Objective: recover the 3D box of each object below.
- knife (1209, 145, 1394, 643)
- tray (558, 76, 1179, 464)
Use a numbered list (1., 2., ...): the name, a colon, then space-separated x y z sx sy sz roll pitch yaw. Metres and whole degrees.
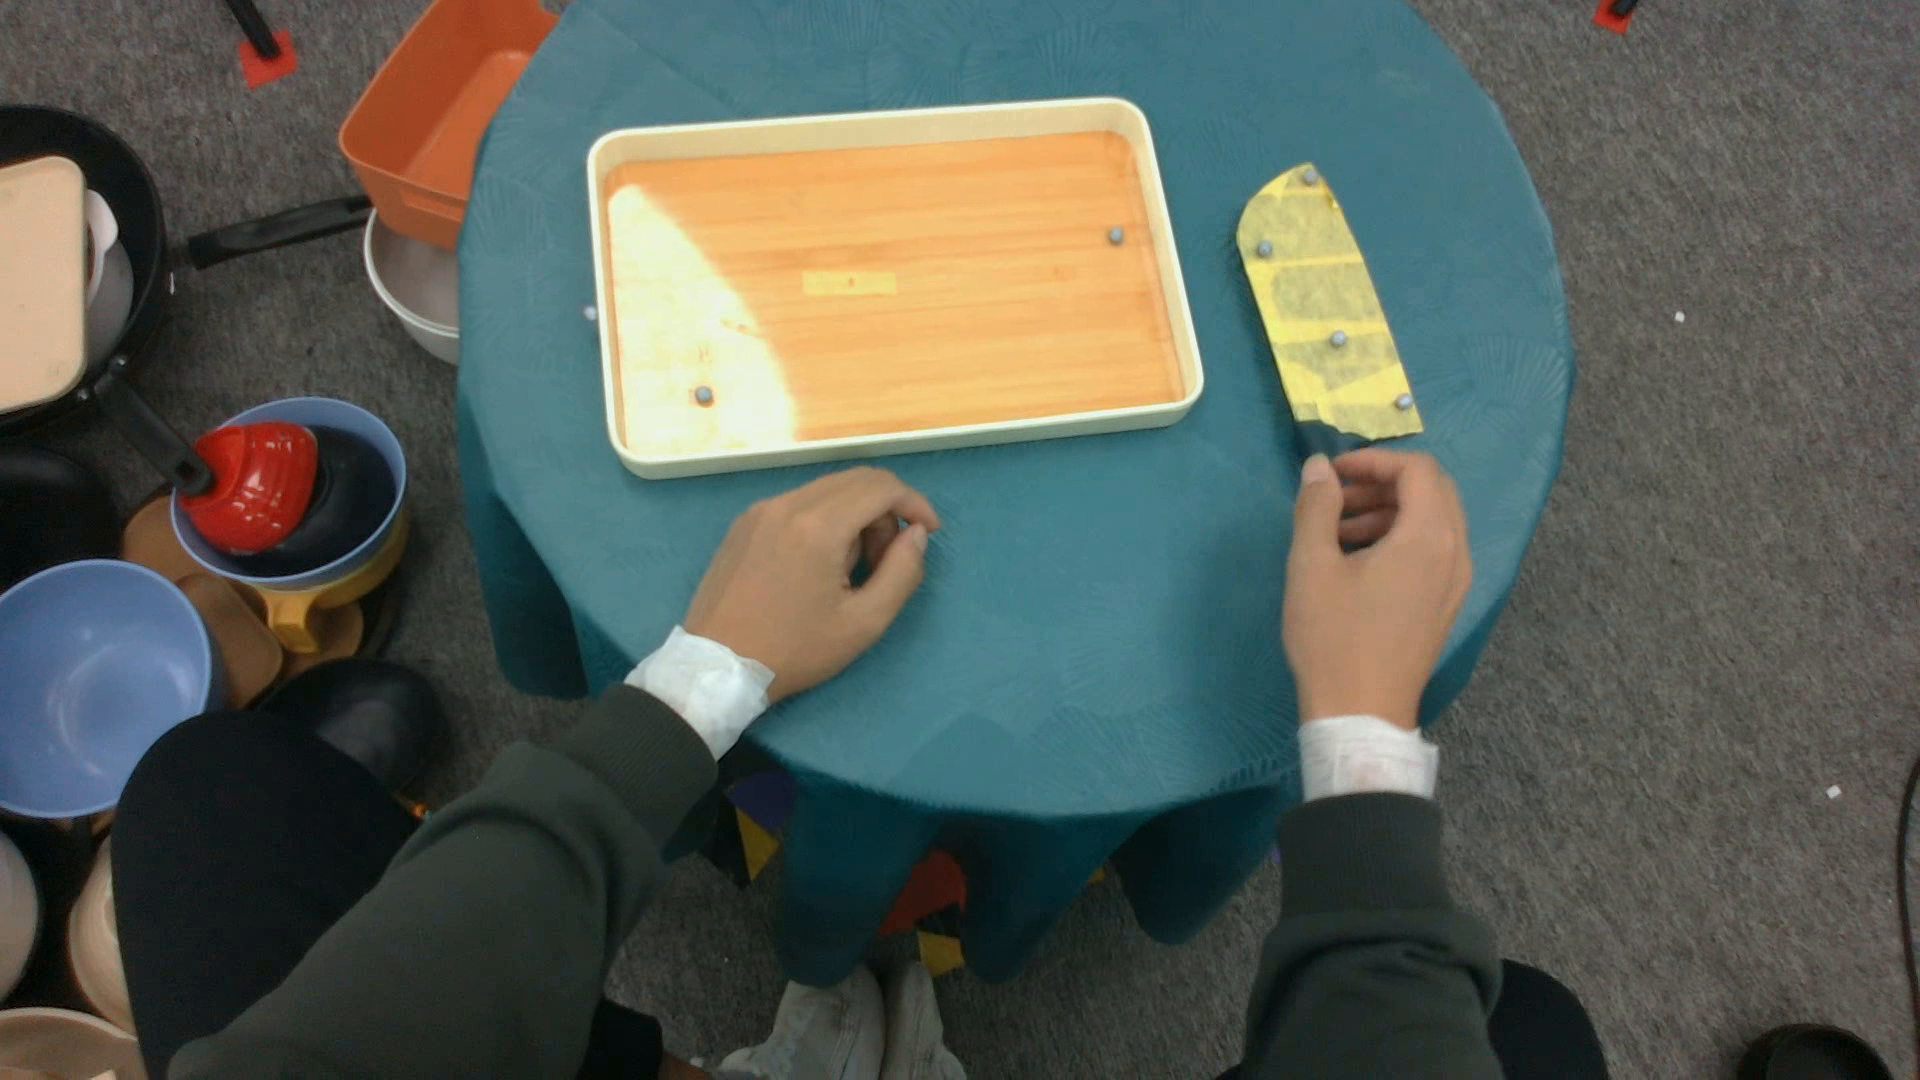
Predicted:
1. knife: 0.191 -0.086 0.730 0.081 0.027 0.290 -5 72 -16
2. tray: -0.048 -0.145 0.716 0.300 0.027 0.192 -7 73 -9
